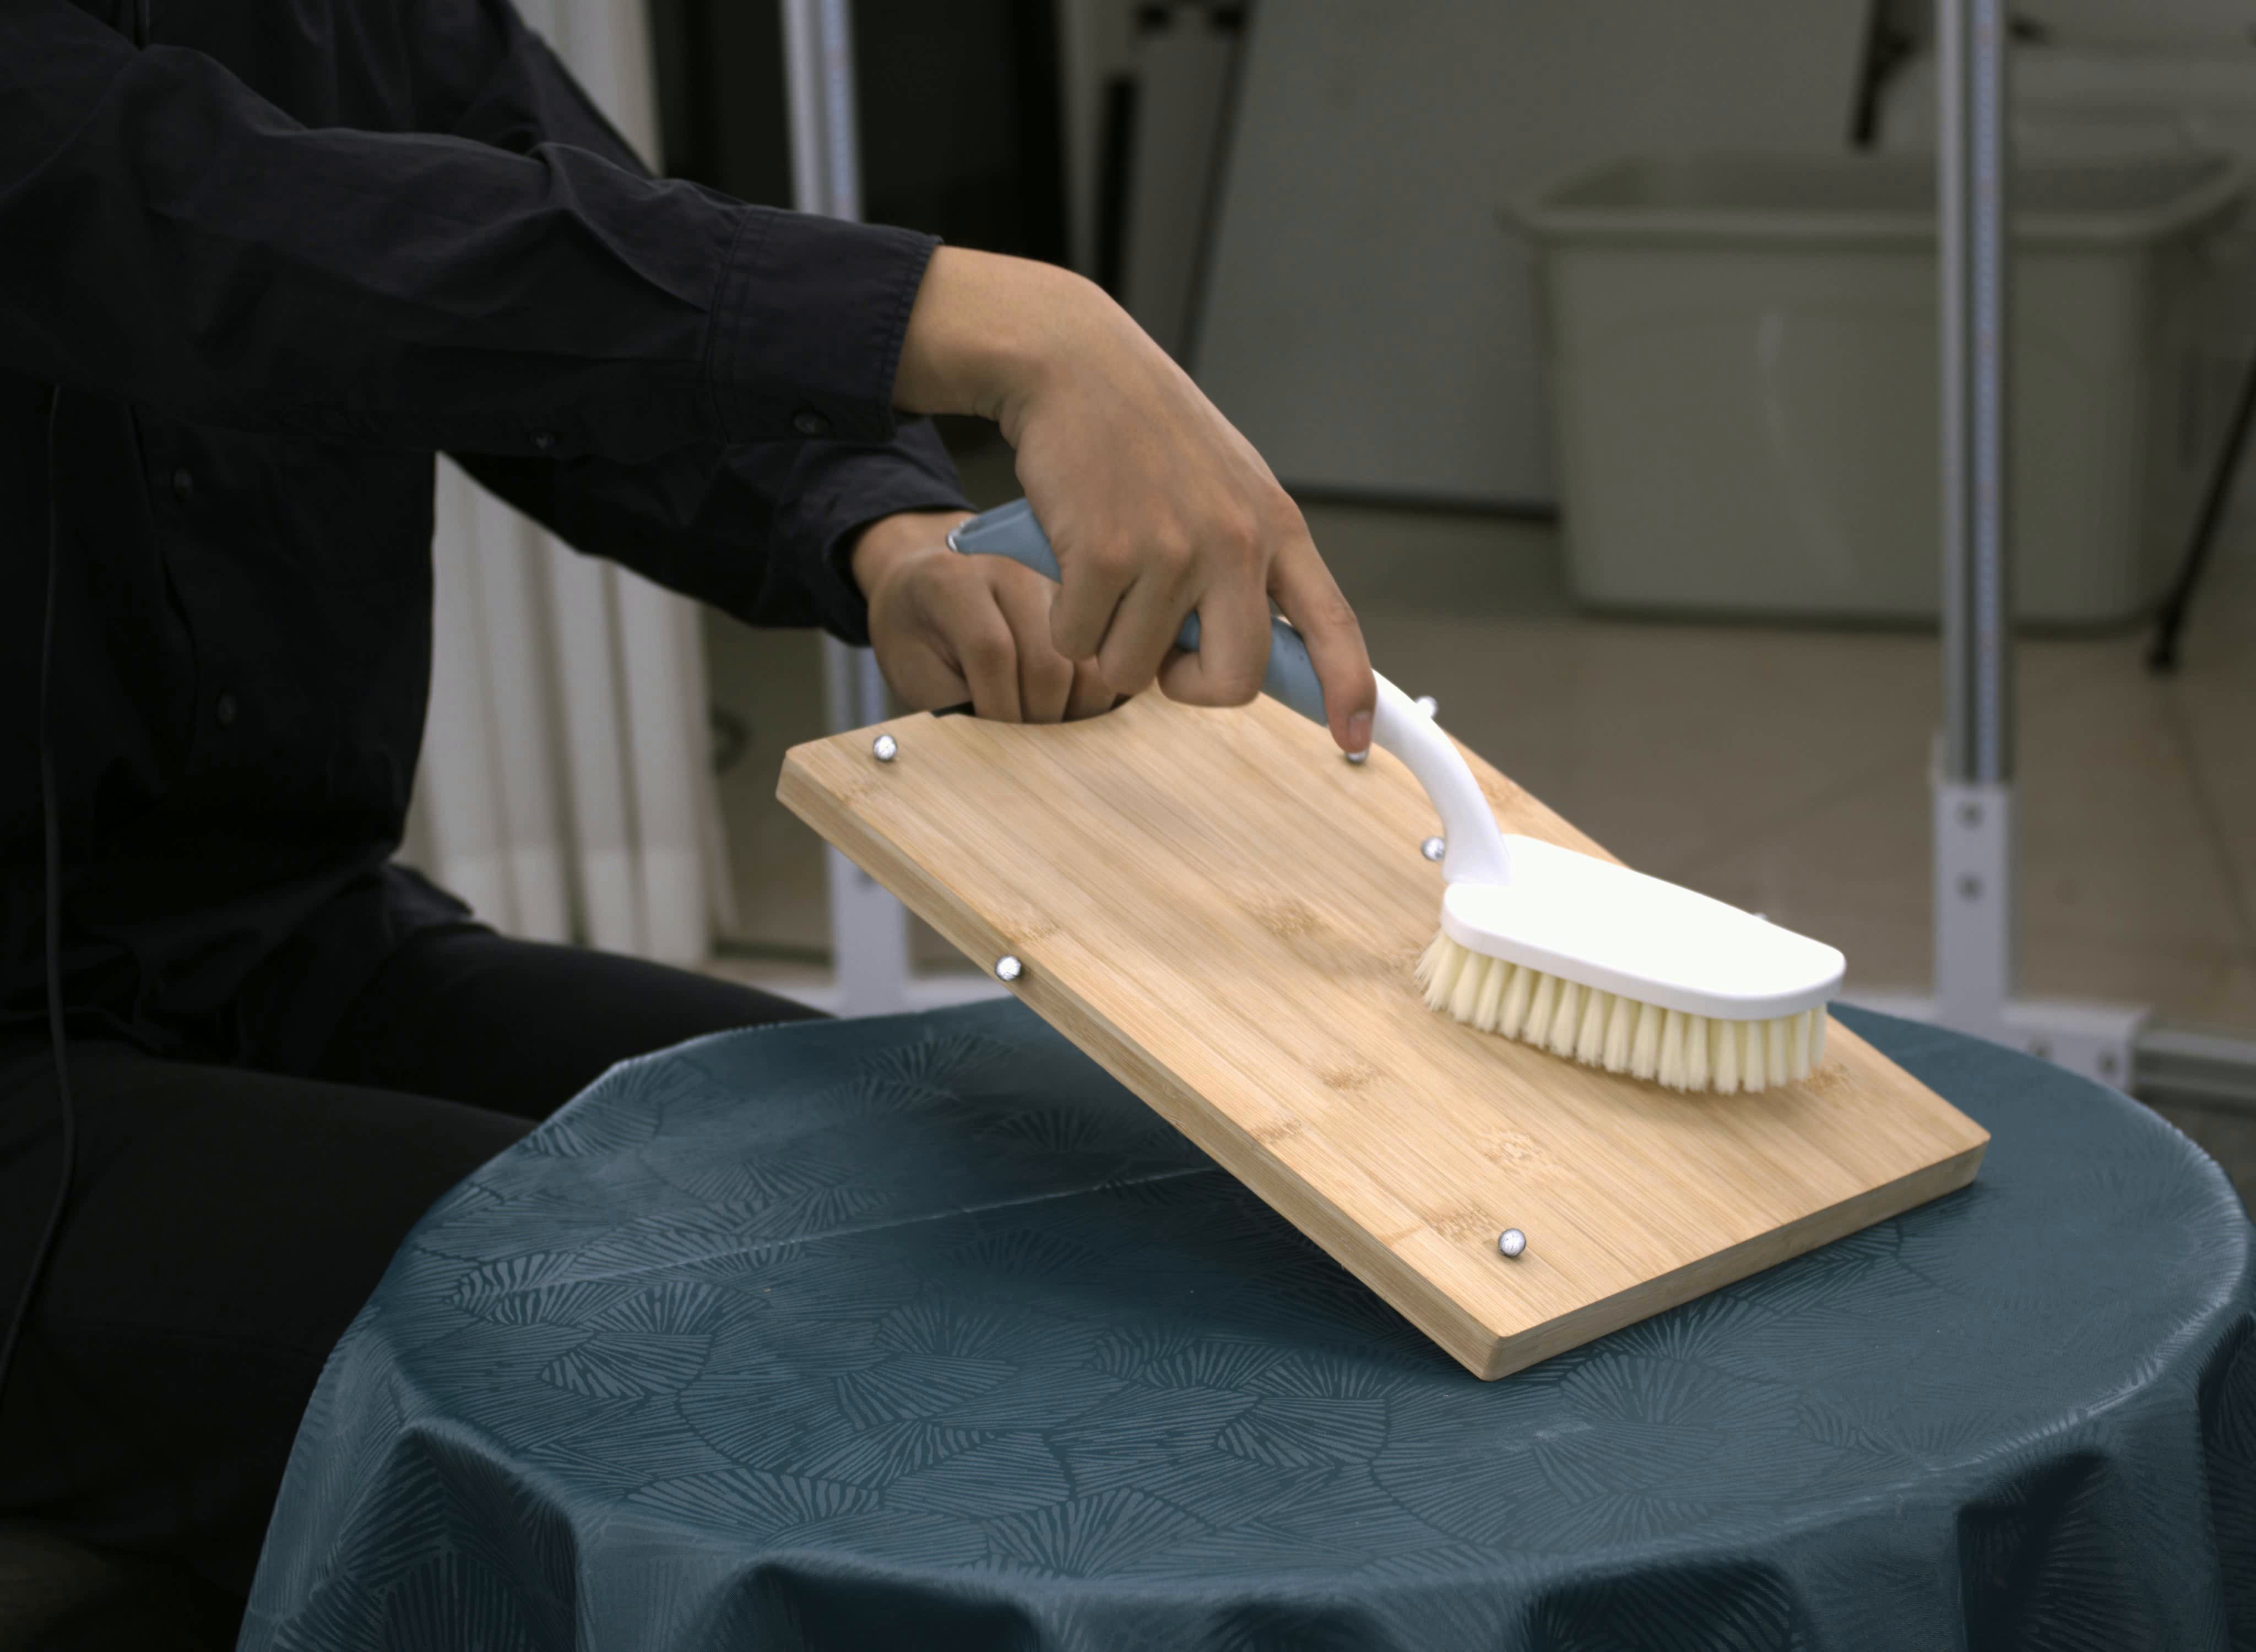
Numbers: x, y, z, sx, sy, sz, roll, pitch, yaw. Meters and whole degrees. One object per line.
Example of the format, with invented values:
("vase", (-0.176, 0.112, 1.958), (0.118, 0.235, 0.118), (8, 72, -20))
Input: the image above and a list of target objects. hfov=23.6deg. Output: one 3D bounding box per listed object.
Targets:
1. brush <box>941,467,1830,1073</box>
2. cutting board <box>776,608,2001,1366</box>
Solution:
("brush", (0.073, -0.006, 1.731), (0.324, 0.085, 0.083), (29, -6, 7))
("cutting board", (0.082, 0.043, 1.747), (0.245, 0.024, 0.352), (-16, 42, -43))
